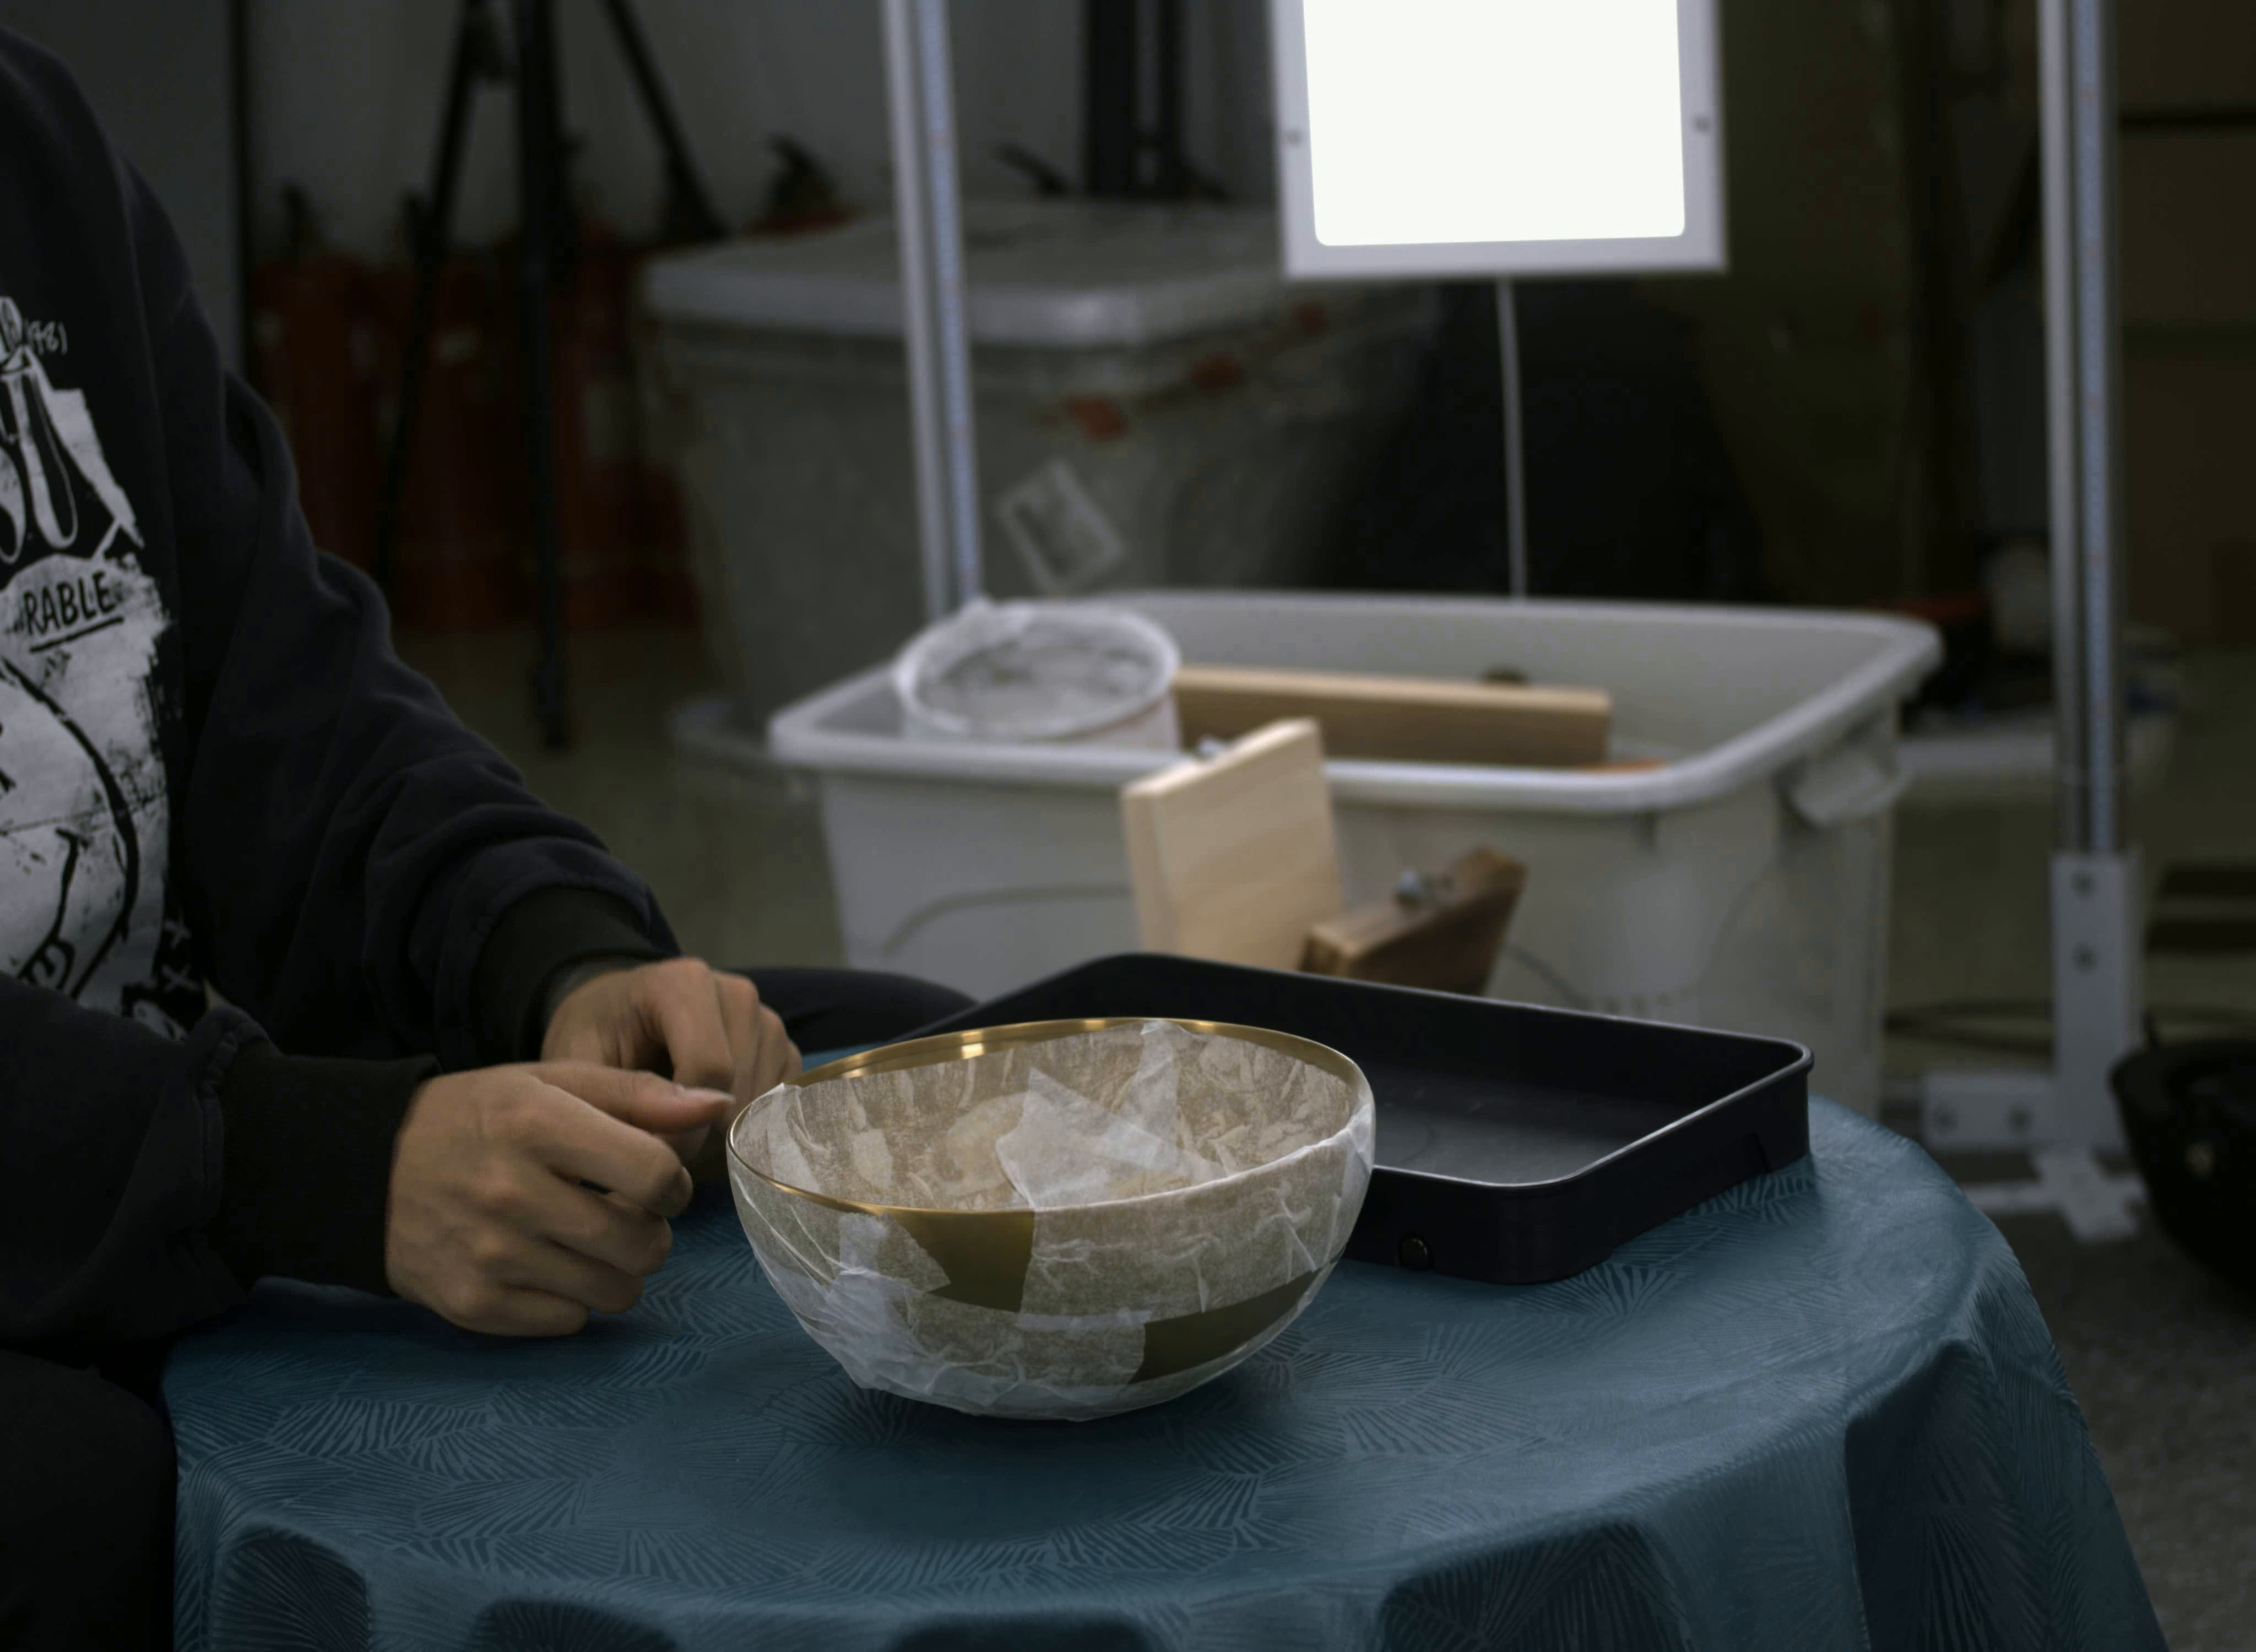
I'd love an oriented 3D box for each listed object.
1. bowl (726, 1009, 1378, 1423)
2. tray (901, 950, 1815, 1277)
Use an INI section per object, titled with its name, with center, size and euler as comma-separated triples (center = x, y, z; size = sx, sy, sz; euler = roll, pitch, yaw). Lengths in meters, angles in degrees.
[bowl]
center = -0.022, 0.128, 1.706
size = 0.214, 0.095, 0.214
euler = -5, 15, 0
[tray]
center = 0.067, 0.096, 1.915
size = 0.325, 0.037, 0.179
euler = 6, 18, 41
